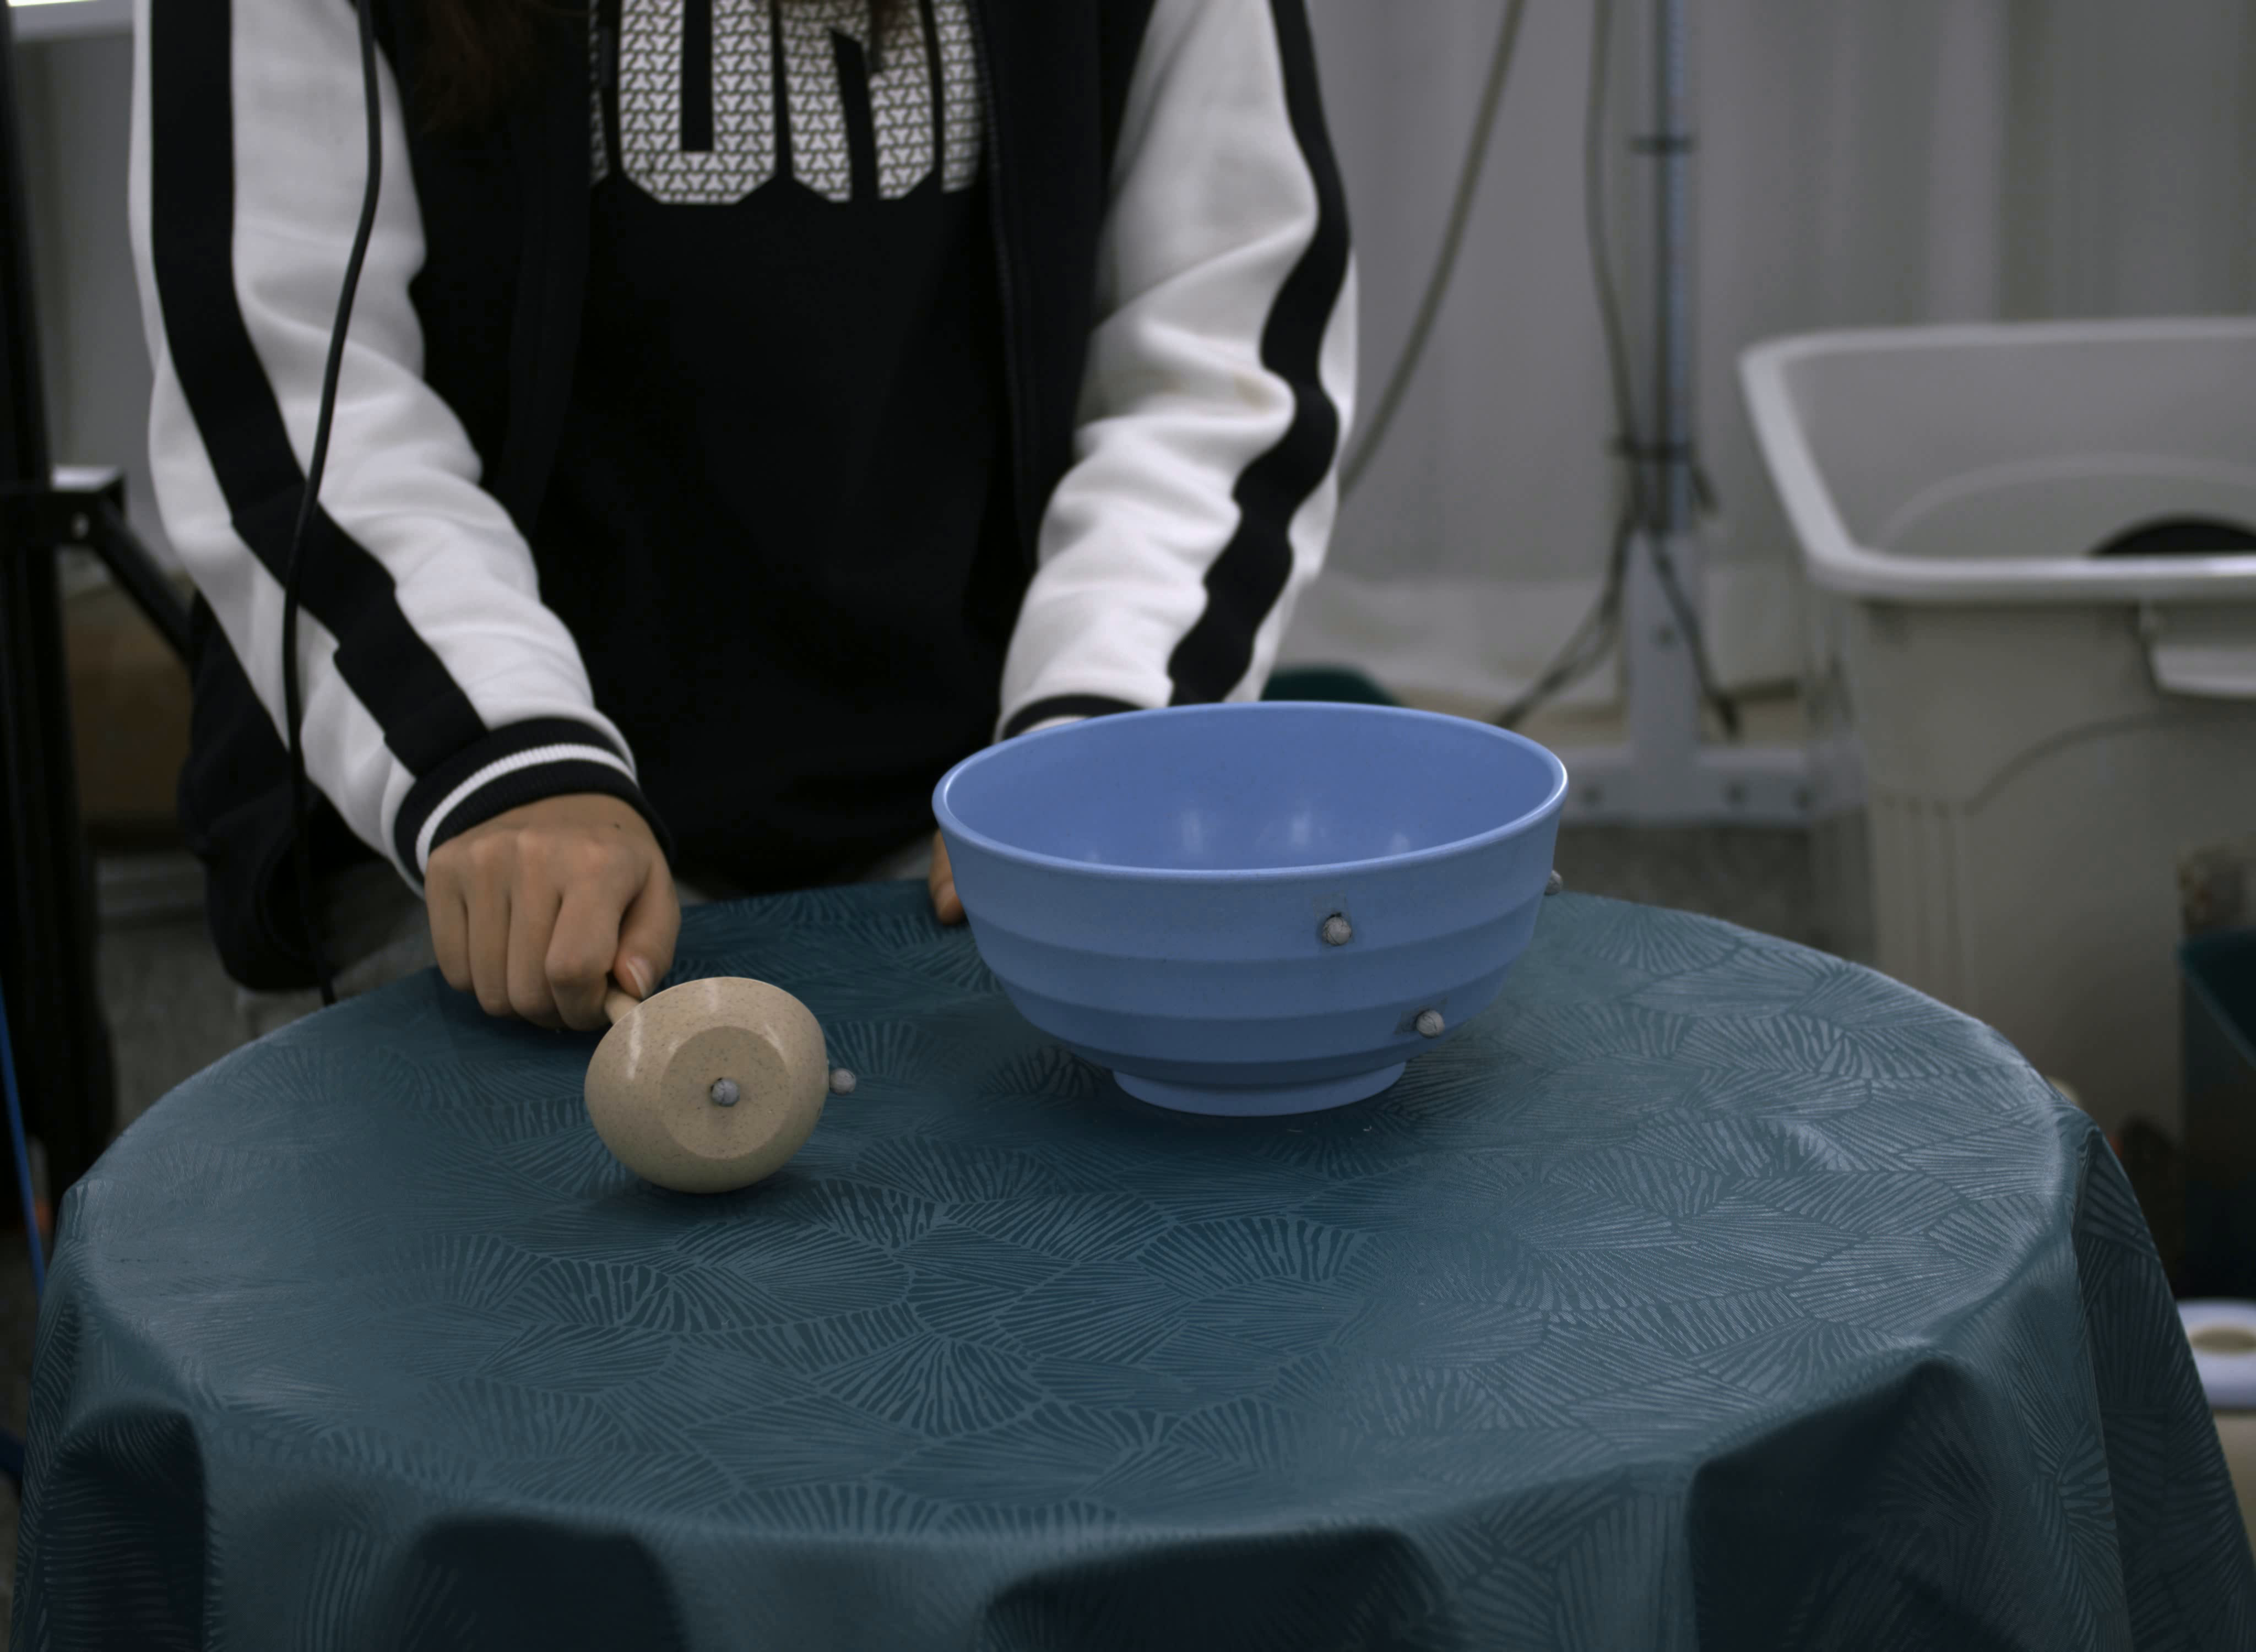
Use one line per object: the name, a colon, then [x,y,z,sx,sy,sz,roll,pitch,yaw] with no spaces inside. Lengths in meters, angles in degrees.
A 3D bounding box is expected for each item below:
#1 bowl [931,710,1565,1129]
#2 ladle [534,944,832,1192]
bowl: [0.039,0.035,1.649,0.195,0.095,0.197,-4,15,0]
ladle: [-0.152,0.045,1.659,0.071,0.073,0.258,-3,17,-17]
